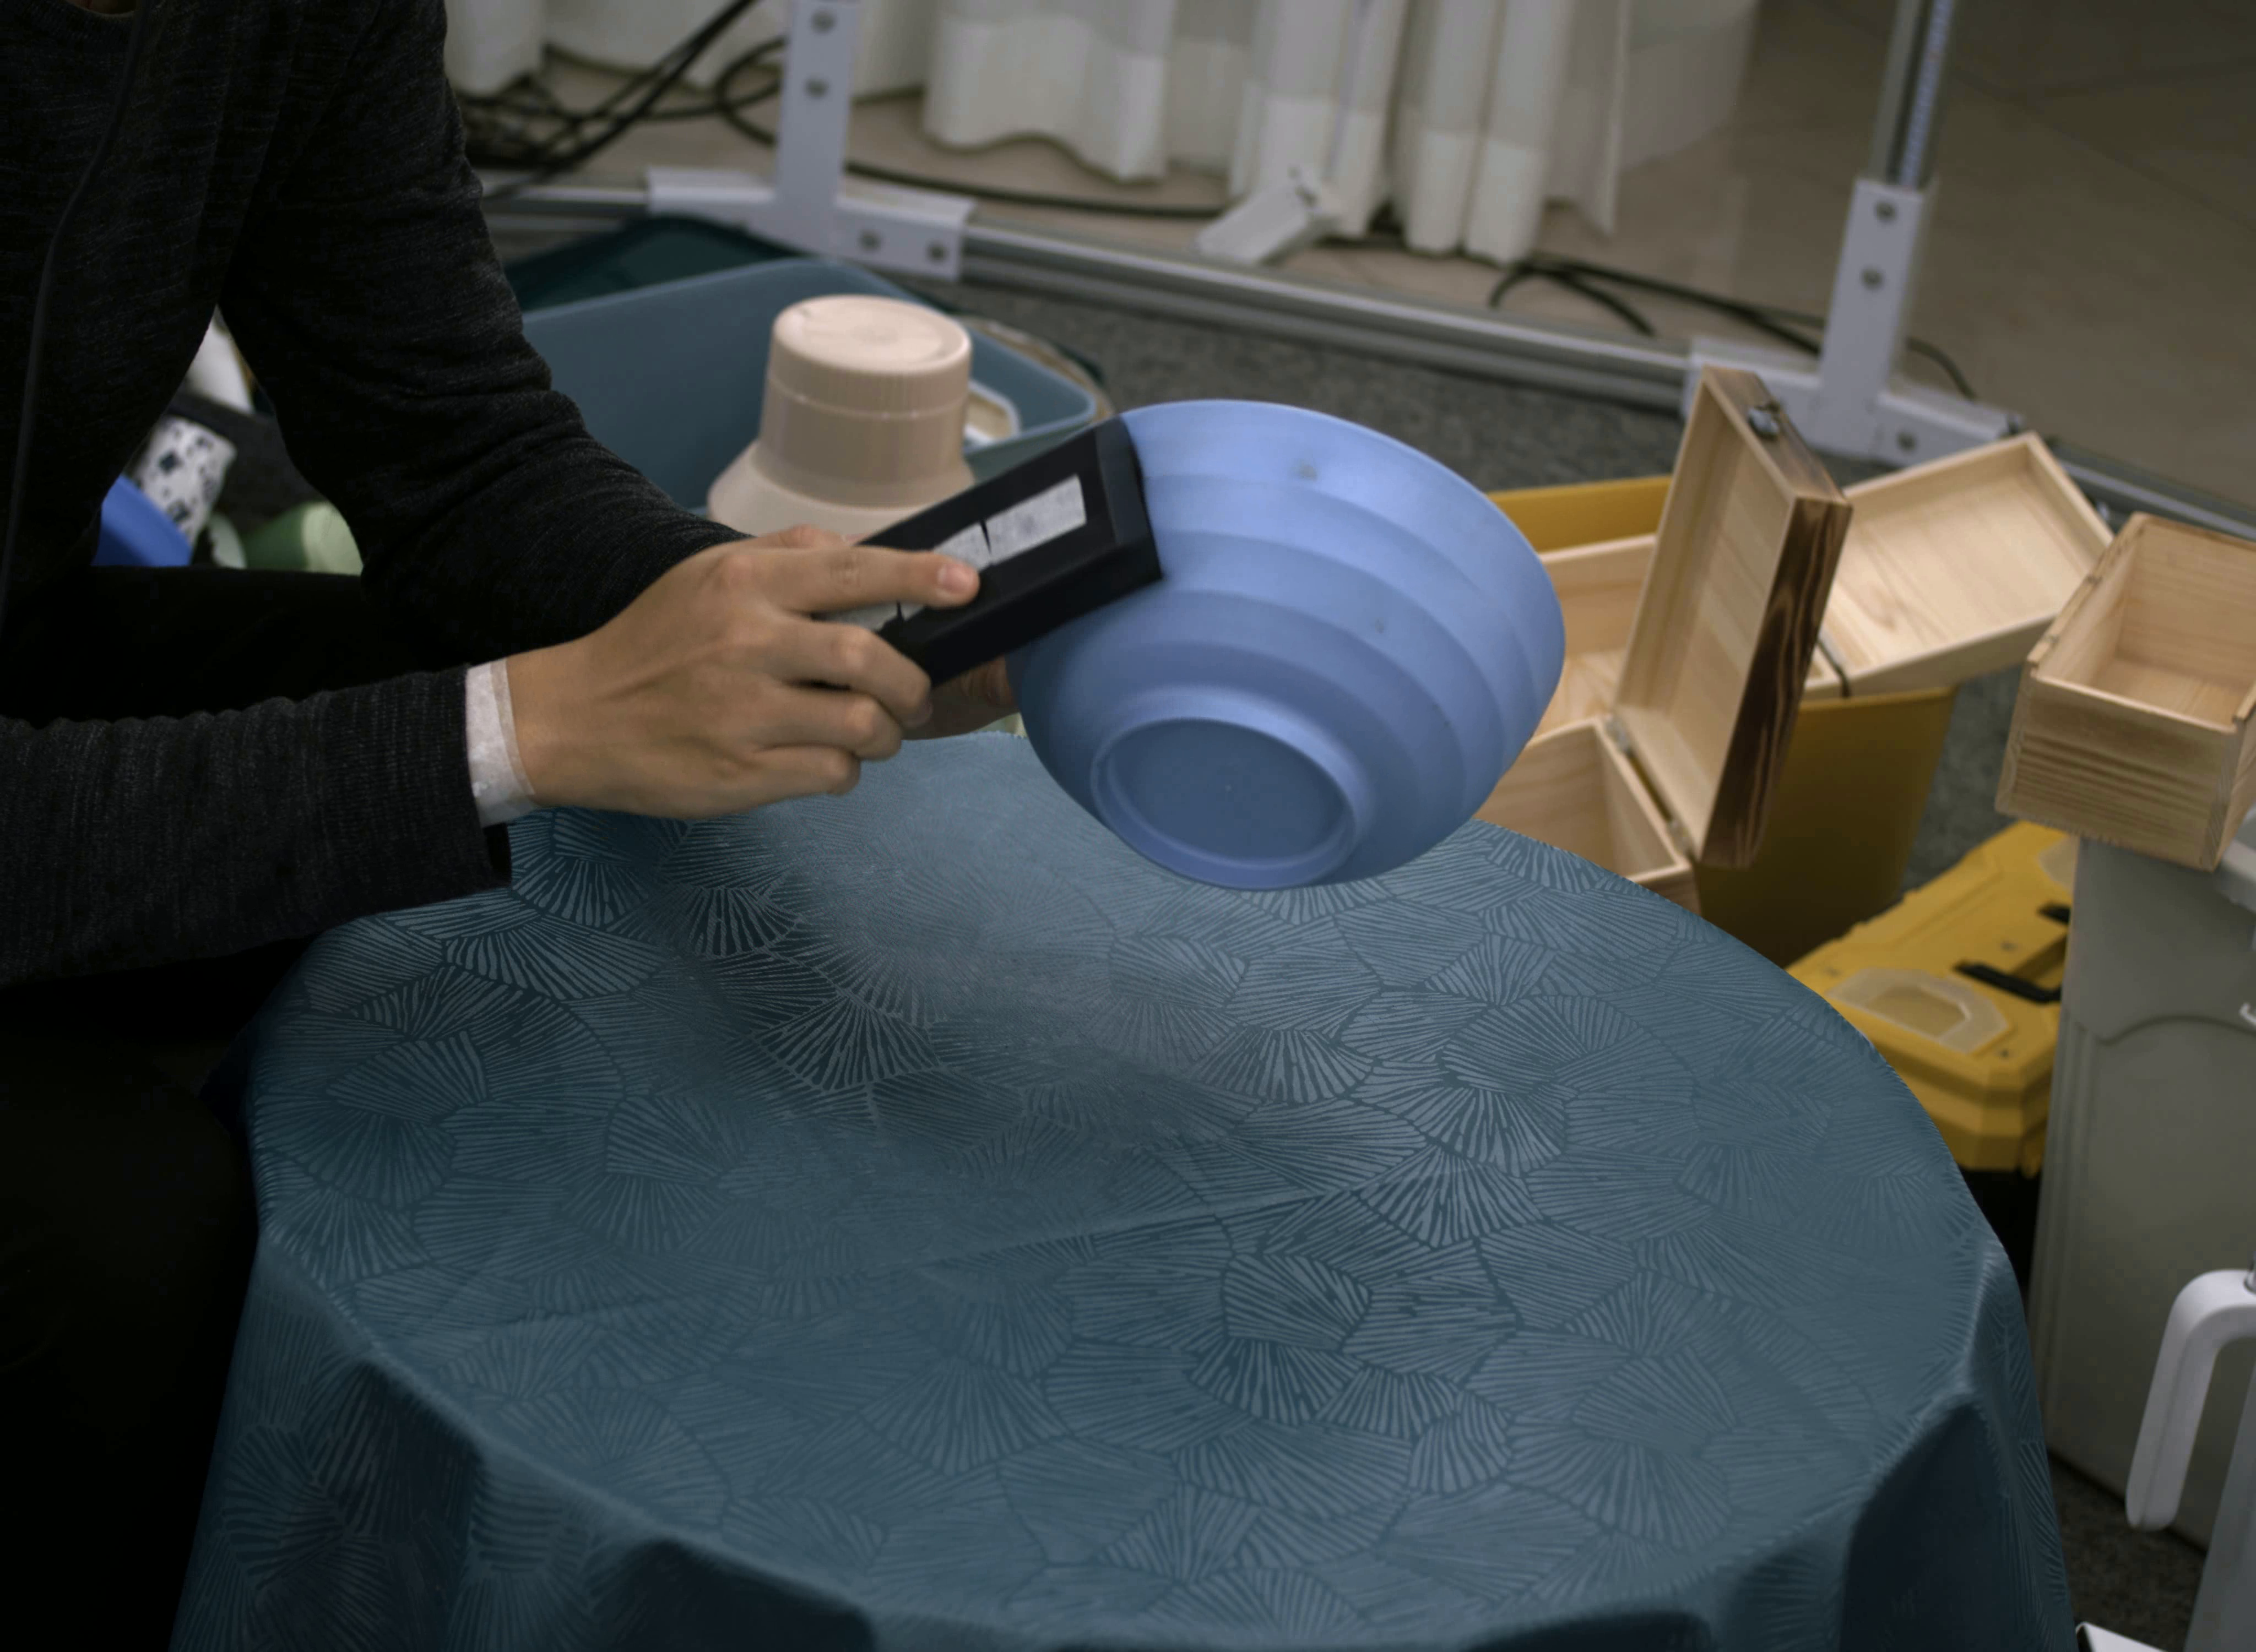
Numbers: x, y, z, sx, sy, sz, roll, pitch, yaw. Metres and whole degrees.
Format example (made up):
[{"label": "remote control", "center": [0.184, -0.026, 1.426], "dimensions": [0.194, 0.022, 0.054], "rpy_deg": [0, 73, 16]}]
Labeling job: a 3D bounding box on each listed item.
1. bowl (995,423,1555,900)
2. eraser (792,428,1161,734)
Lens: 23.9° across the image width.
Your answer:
[{"label": "bowl", "center": [0.040, -0.039, 1.794], "dimensions": [0.196, 0.195, 0.096], "rpy_deg": [10, 58, 6]}, {"label": "eraser", "center": [-0.050, -0.080, 1.742], "dimensions": [0.030, 0.125, 0.054], "rpy_deg": [33, 37, -52]}]
